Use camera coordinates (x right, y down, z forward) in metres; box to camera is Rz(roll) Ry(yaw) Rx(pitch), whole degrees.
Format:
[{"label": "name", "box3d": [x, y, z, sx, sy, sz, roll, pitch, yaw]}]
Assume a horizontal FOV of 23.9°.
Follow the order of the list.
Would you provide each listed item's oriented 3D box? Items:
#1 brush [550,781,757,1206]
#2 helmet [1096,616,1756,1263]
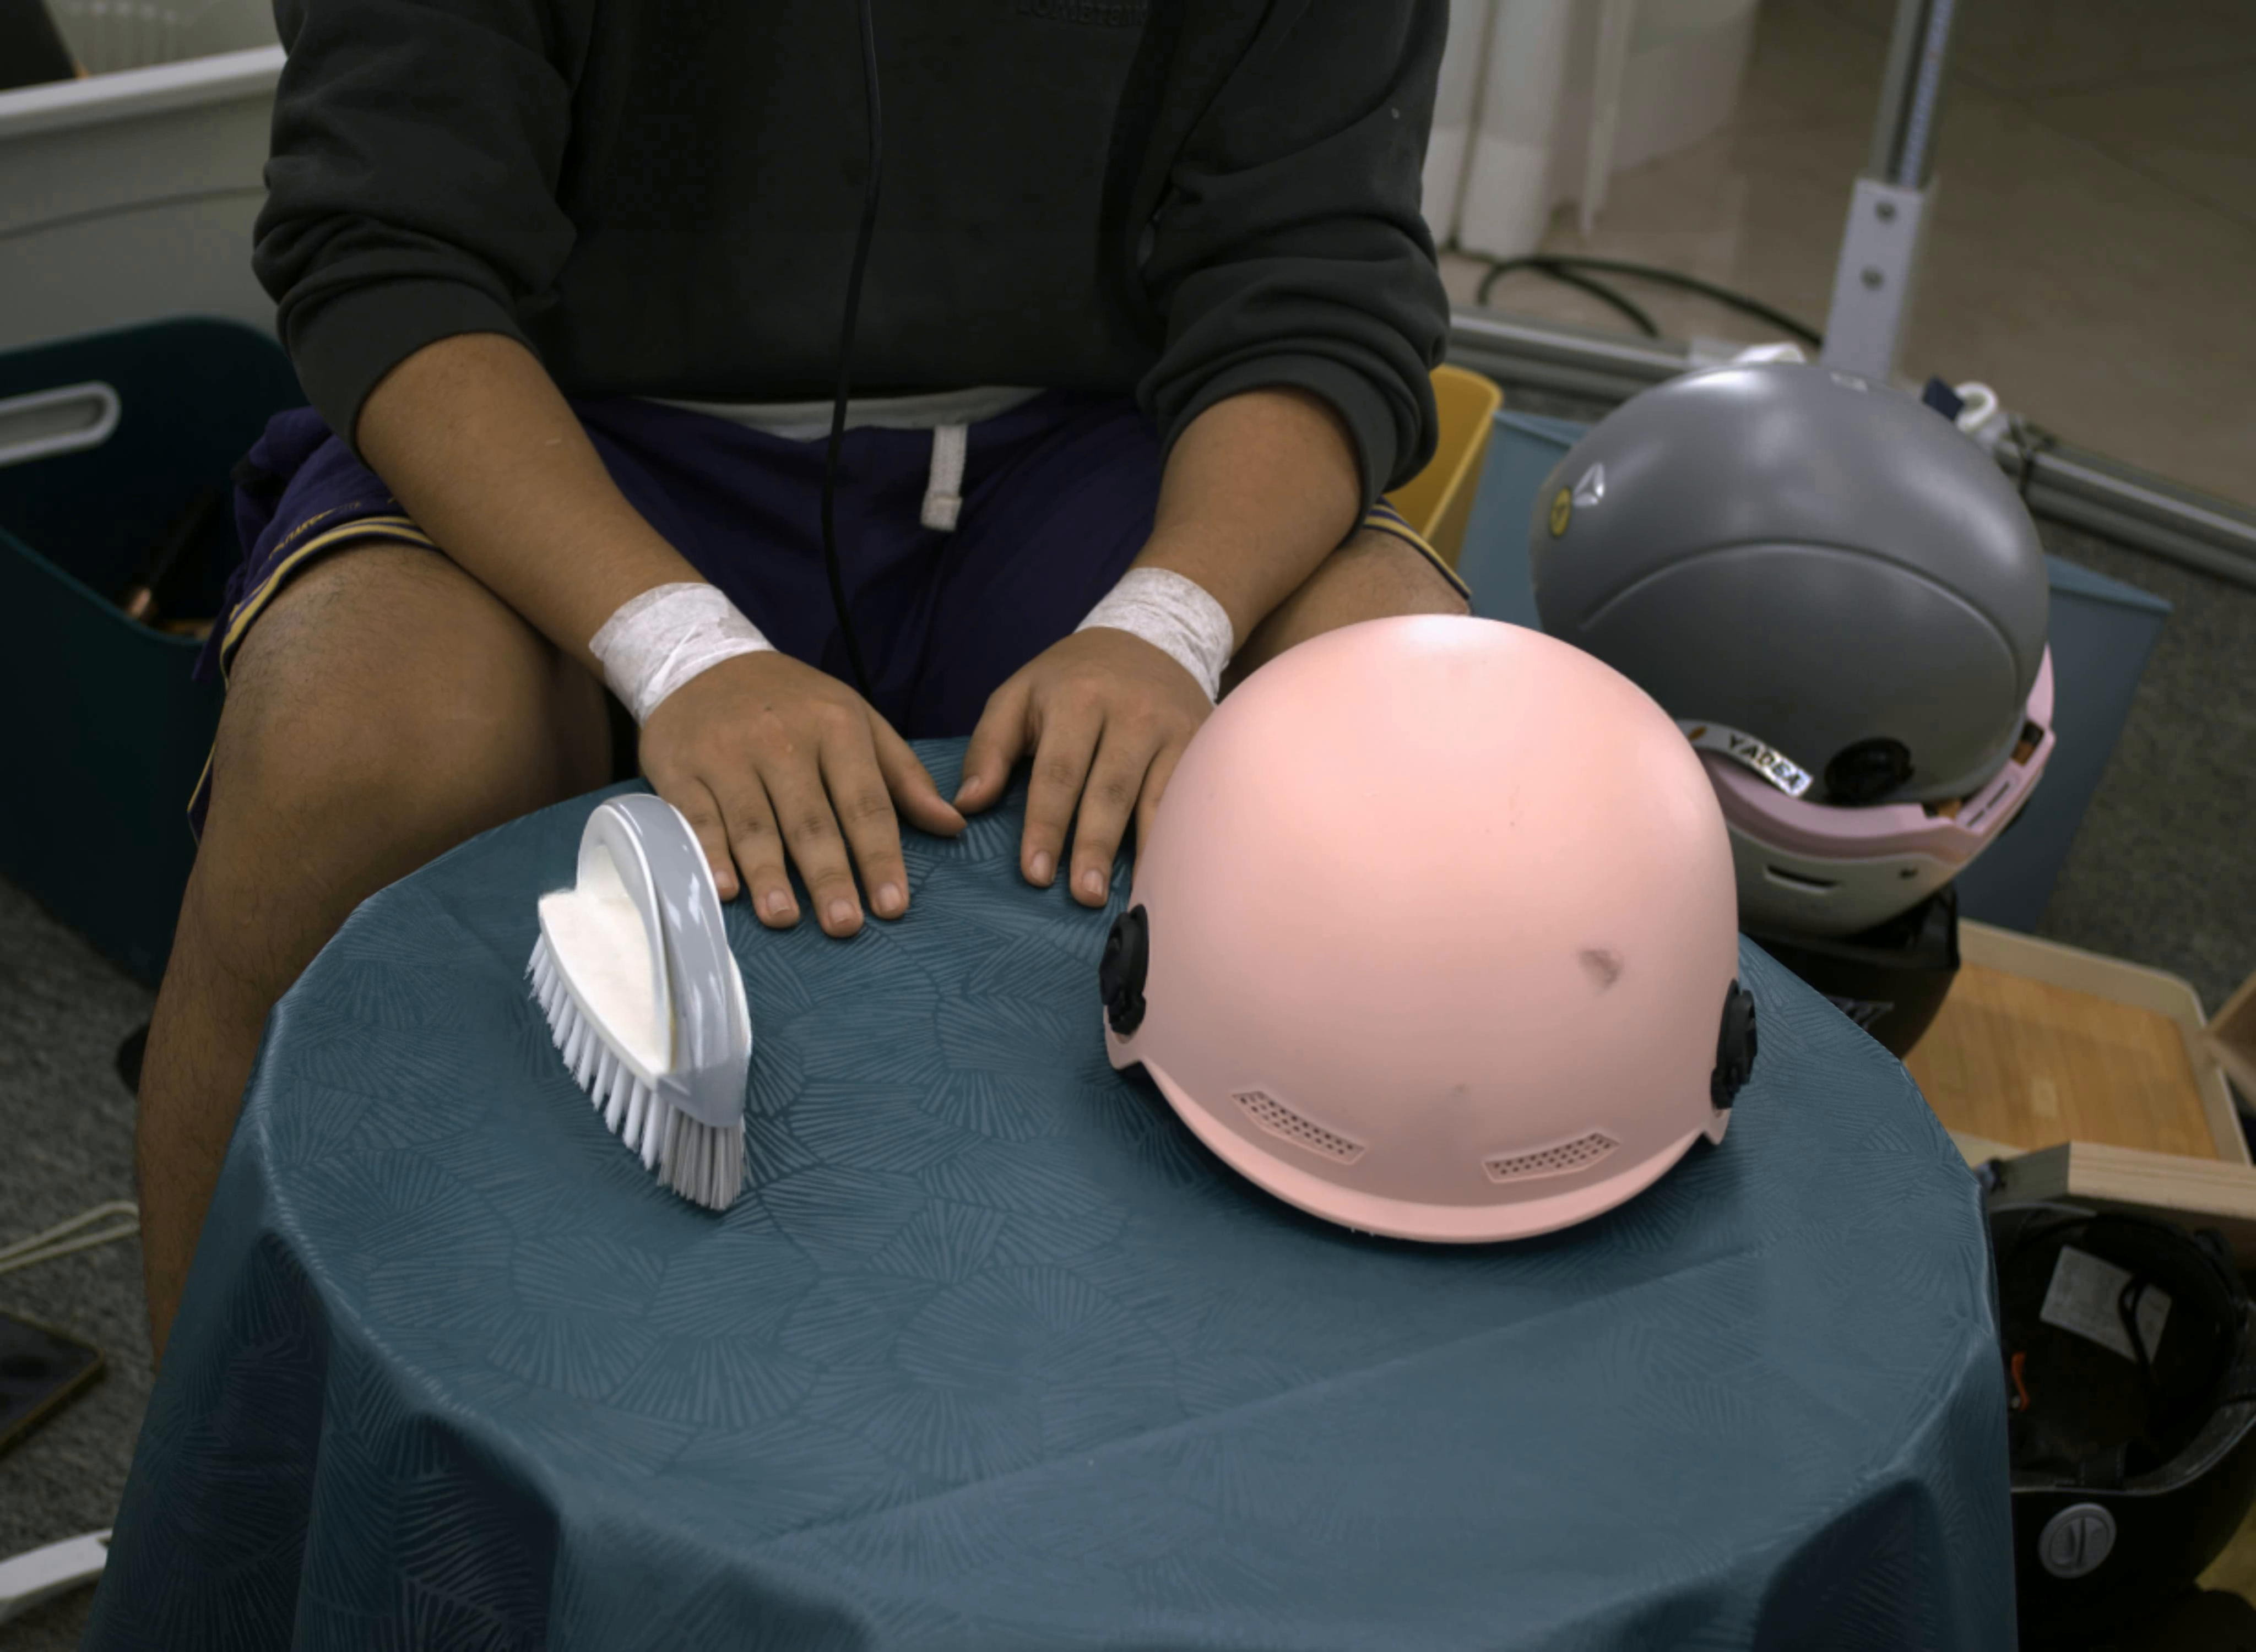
[{"label": "brush", "box3d": [-0.155, 0.049, 1.814, 0.061, 0.094, 0.177, -4, 30, -17]}, {"label": "helmet", "box3d": [0.111, 0.021, 1.863, 0.233, 0.158, 0.267, 7, 30, 0]}]
